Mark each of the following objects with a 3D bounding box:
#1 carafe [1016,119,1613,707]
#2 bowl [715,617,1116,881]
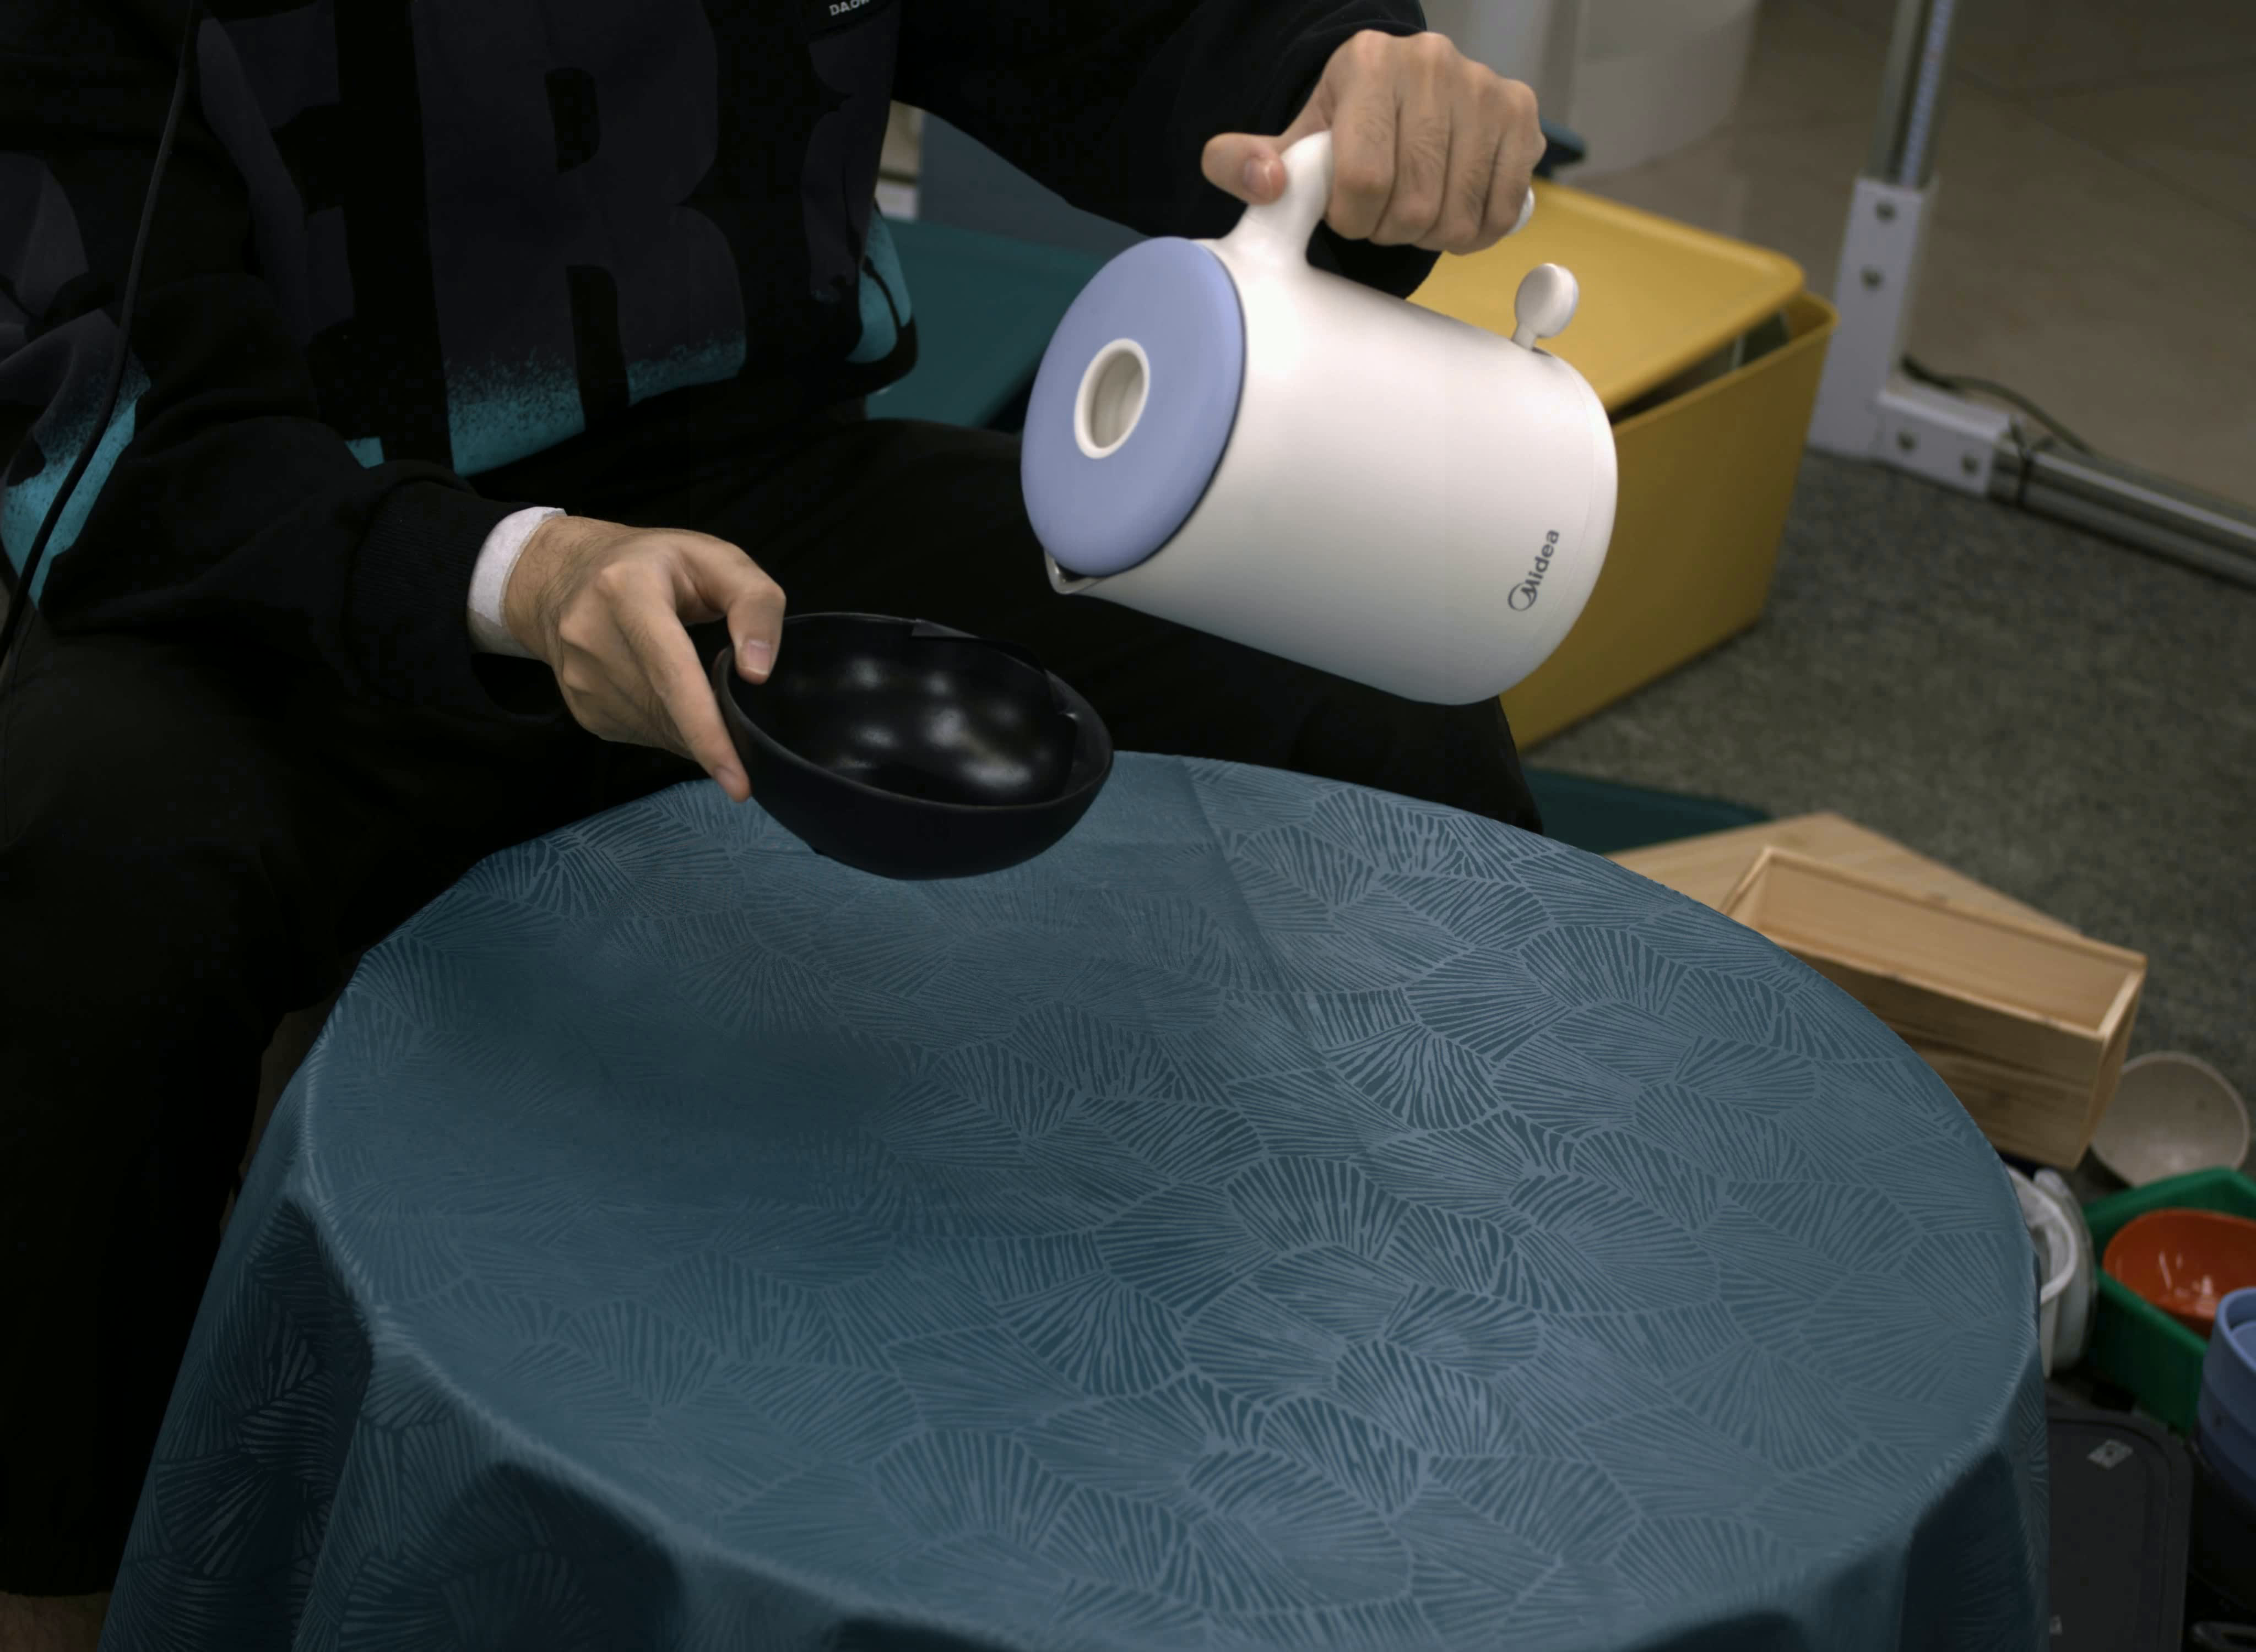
[{"bbox_3d":[0.074,-0.145,1.829,0.181,0.191,0.133,20,9,-35],"label":"carafe"},{"bbox_3d":[-0.076,-0.019,1.817,0.139,0.049,0.141,10,25,-5],"label":"bowl"}]
